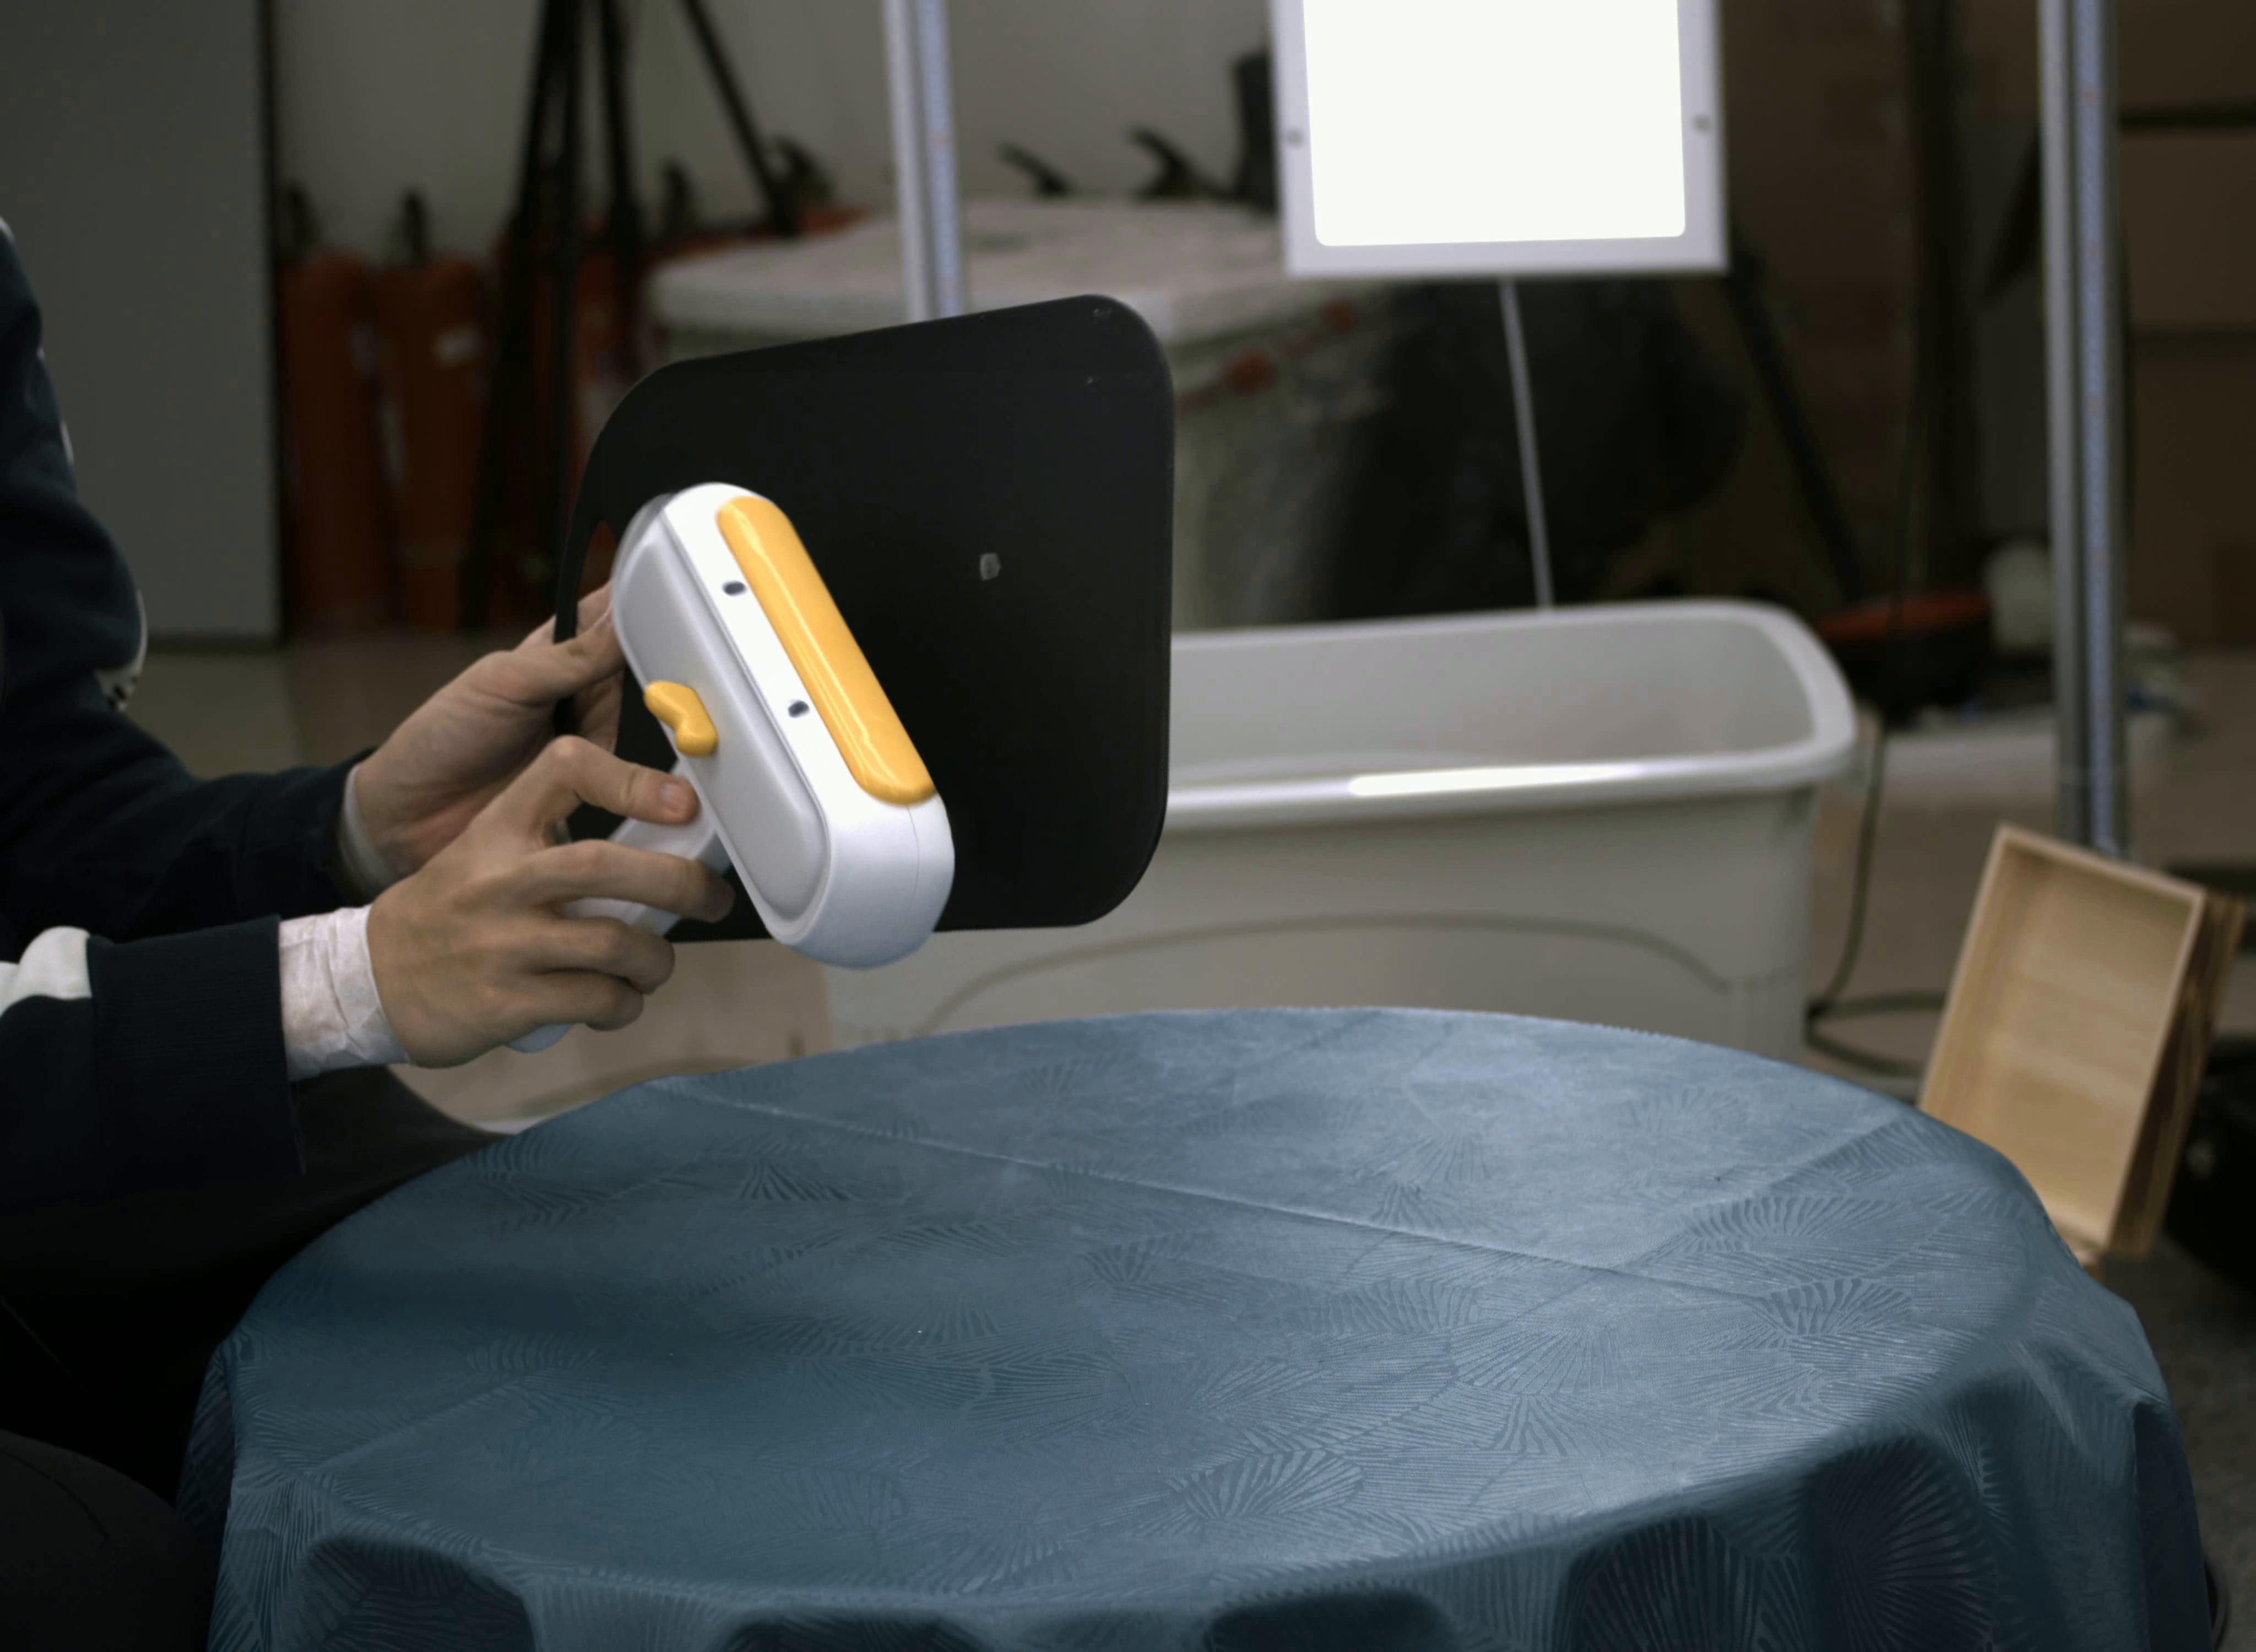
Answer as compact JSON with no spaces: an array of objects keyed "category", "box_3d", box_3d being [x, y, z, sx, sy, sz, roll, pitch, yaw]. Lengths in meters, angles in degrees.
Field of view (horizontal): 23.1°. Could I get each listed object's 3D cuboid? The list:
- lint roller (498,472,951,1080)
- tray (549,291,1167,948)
[{"category":"lint roller","box_3d":[-0.147,0.006,1.836,0.072,0.195,0.195,1,41,-40]},{"category":"tray","box_3d":[-0.098,-0.067,1.898,0.009,0.211,0.333,4,-6,-42]}]
